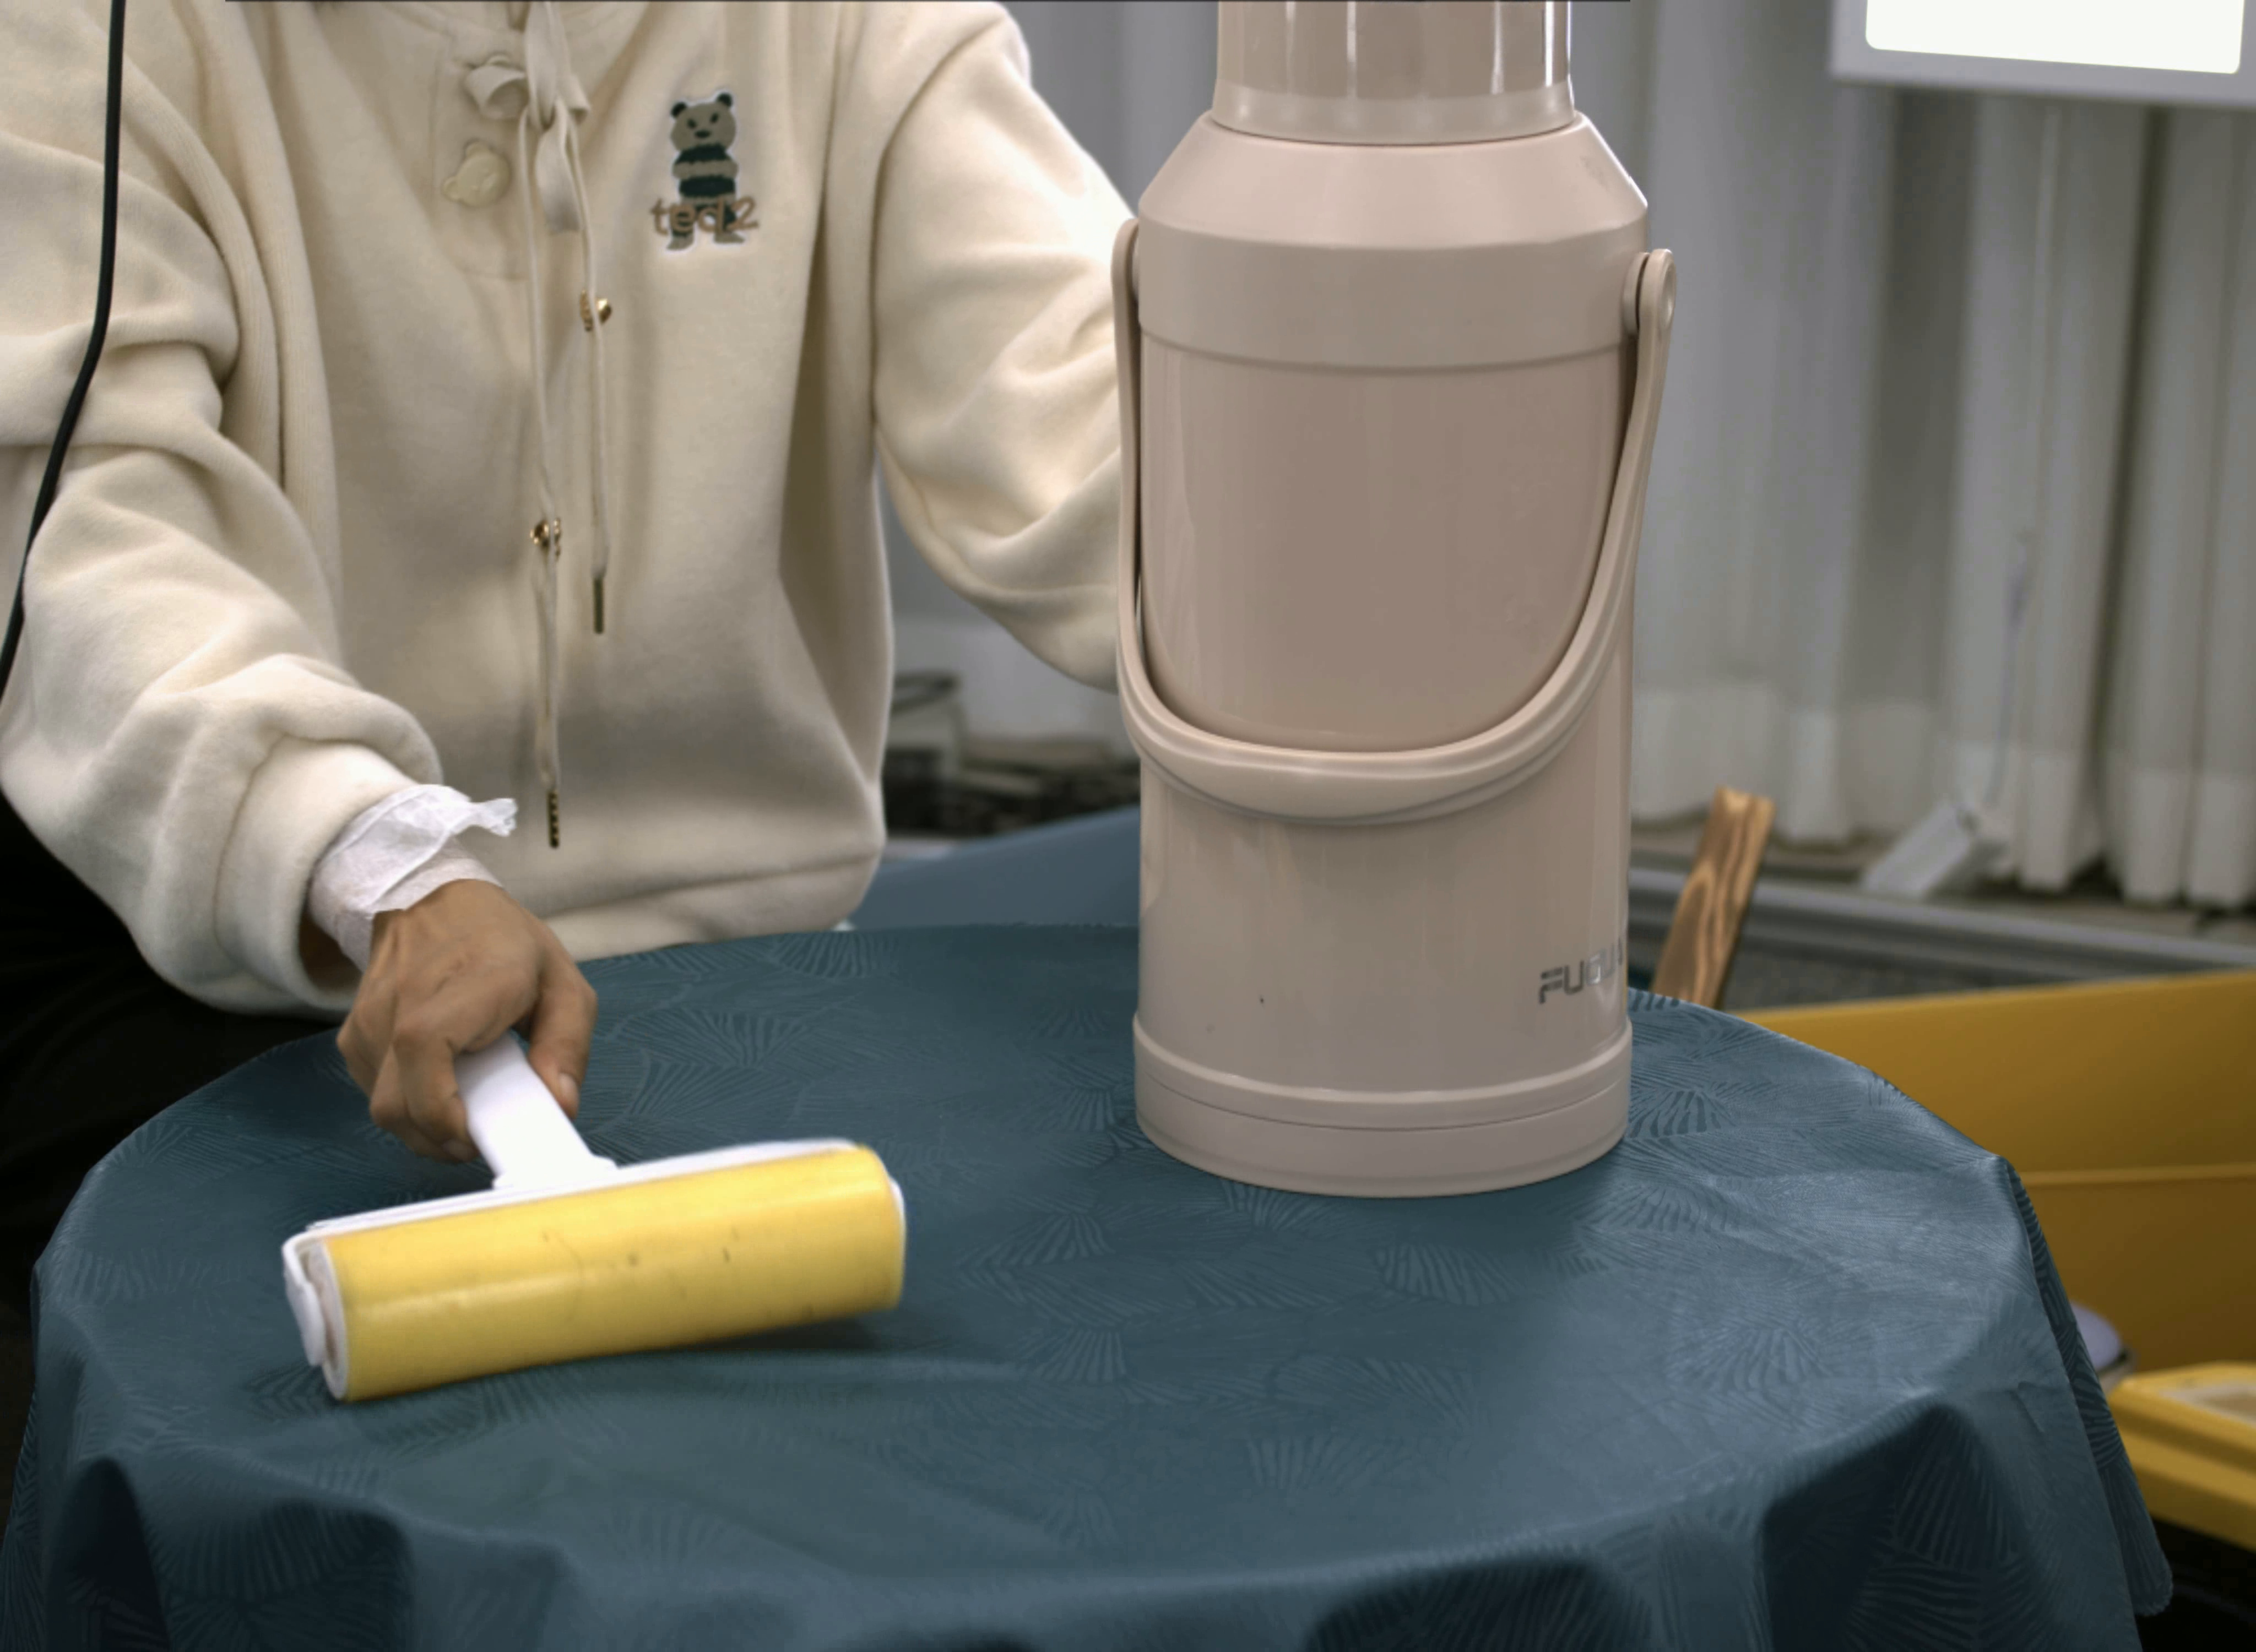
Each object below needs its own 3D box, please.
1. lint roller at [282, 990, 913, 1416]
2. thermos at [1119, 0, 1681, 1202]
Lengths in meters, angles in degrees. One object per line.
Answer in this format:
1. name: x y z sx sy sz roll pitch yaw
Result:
1. lint roller: -0.171 0.090 1.520 0.175 0.052 0.189 -8 38 -21
2. thermos: 0.088 -0.100 1.645 0.174 0.410 0.207 5 17 19
